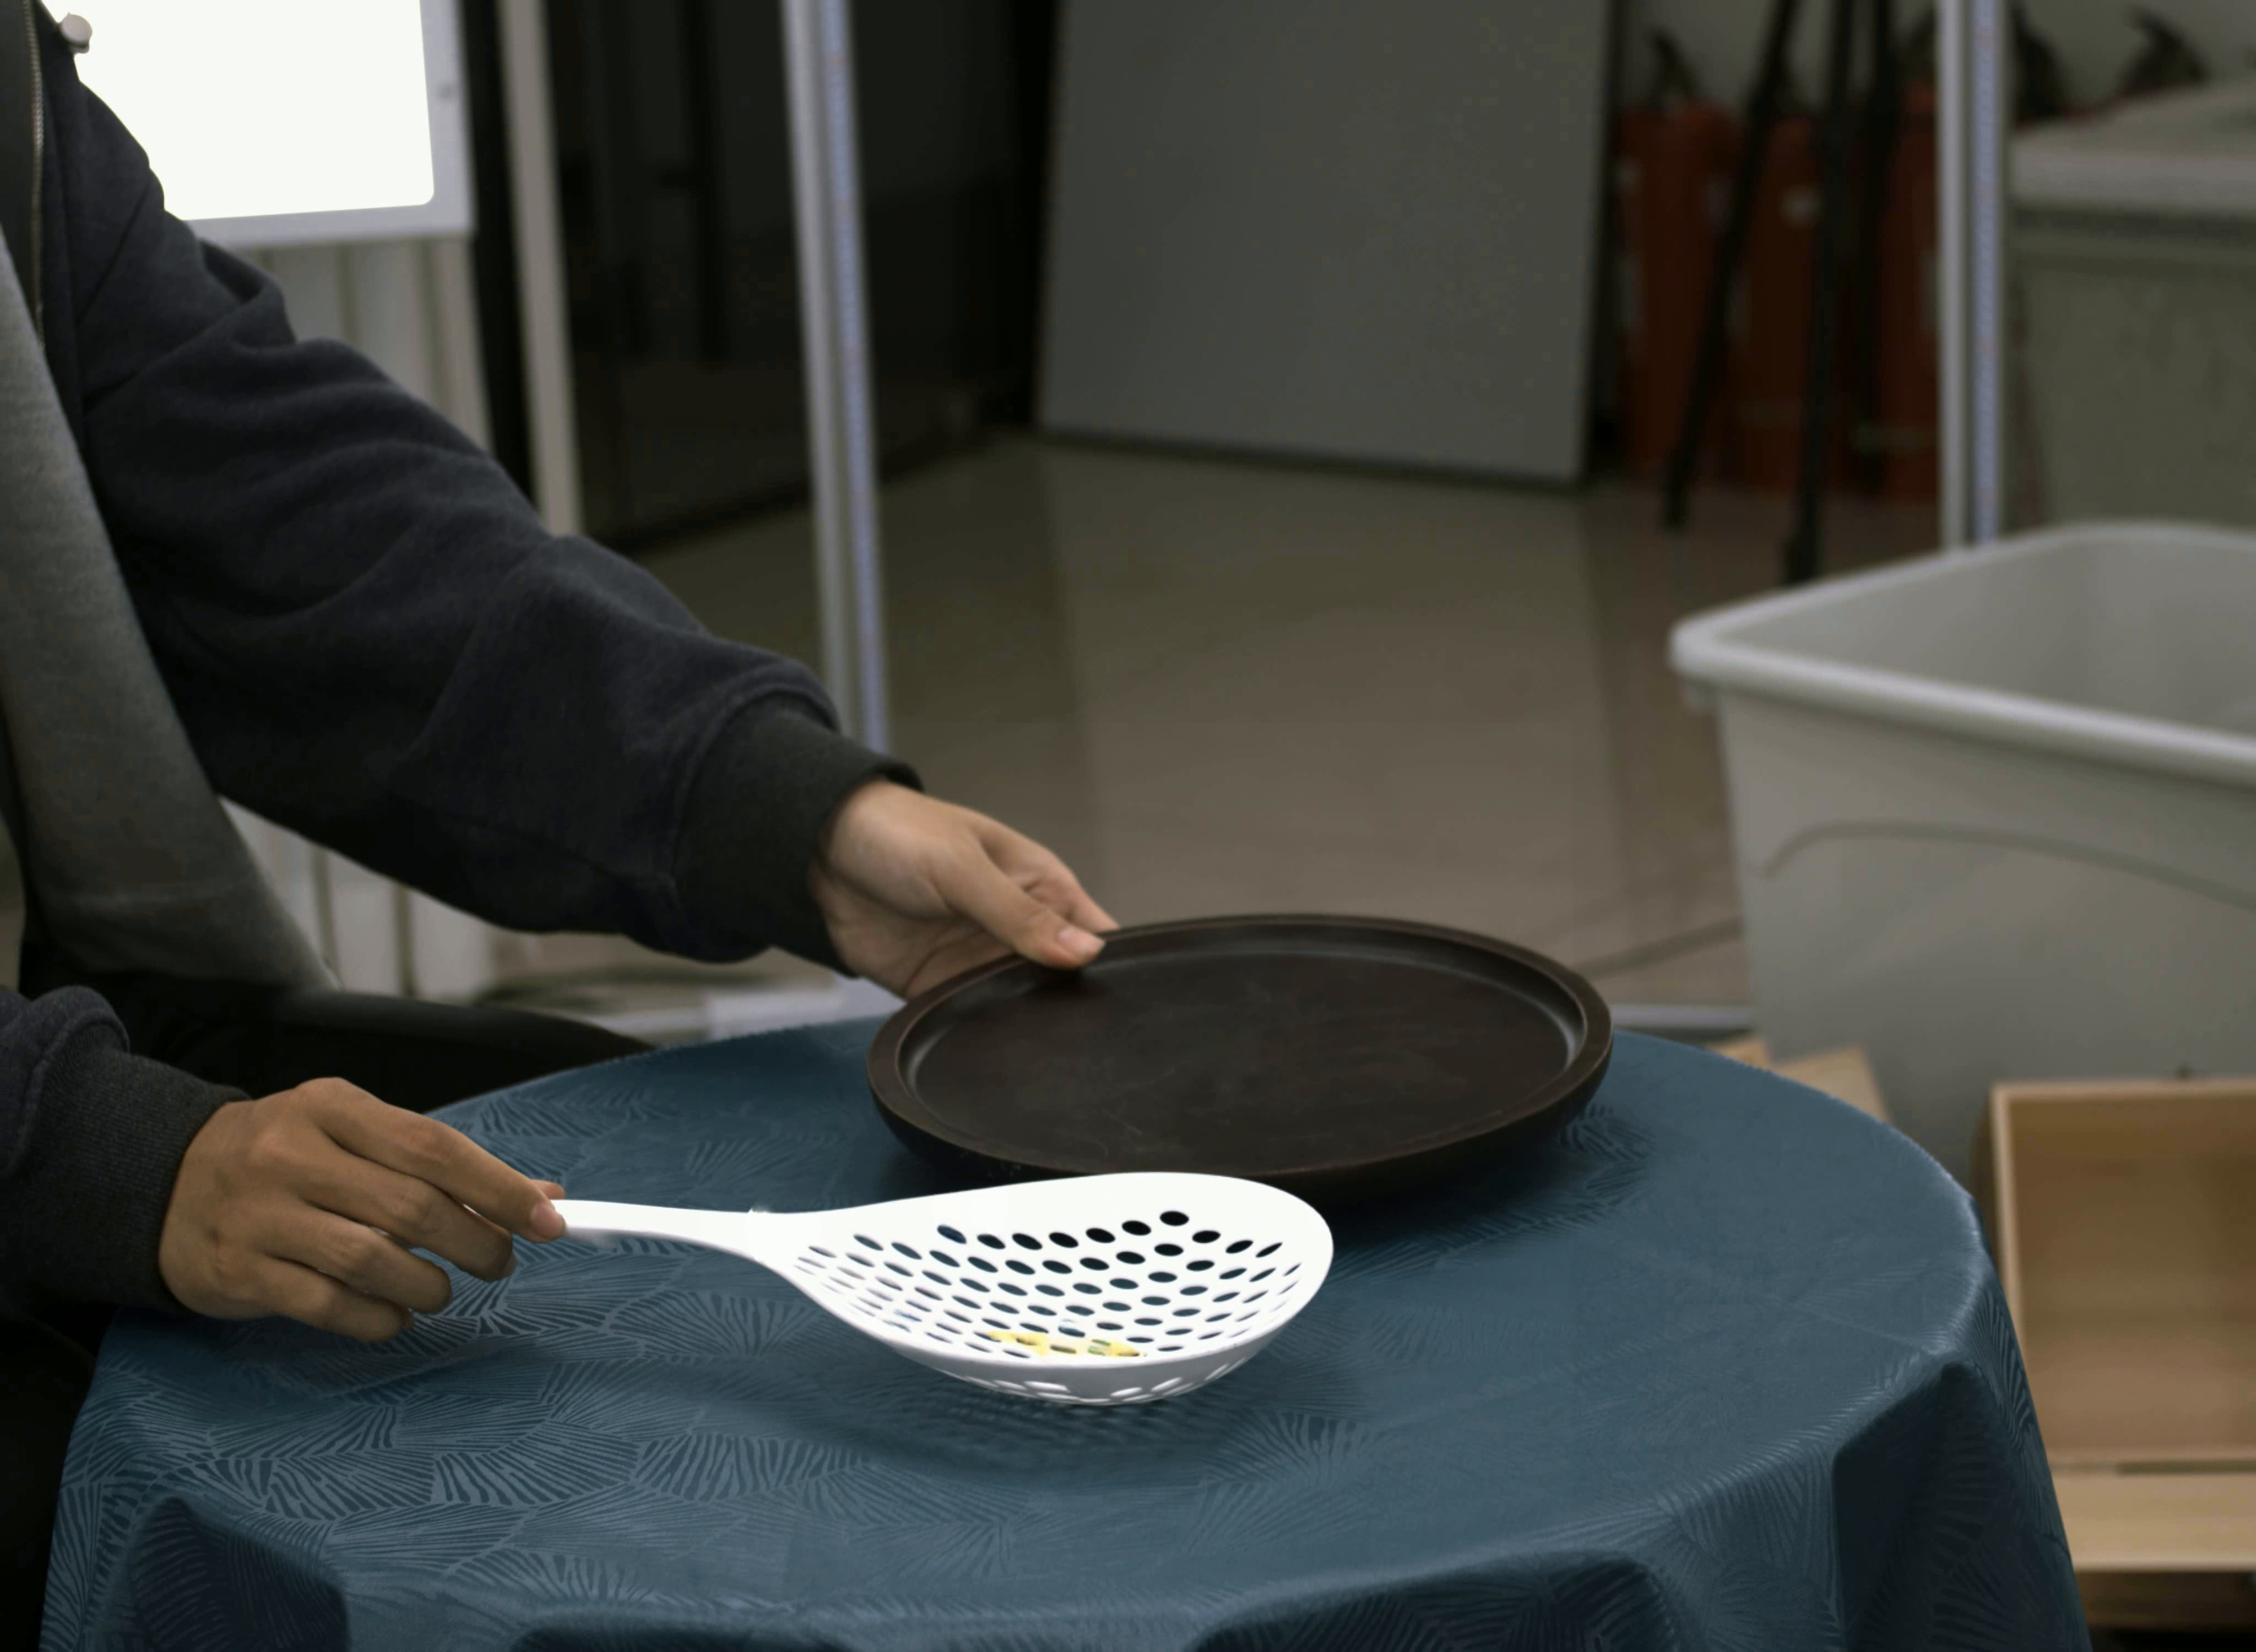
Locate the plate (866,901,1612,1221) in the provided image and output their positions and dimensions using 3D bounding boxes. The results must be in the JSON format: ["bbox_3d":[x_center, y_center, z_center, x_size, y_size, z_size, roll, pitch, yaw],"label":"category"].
[{"bbox_3d":[0.037,0.080,1.802,0.251,0.029,0.255,-5,18,1],"label":"plate"}]

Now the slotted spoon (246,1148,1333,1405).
[{"bbox_3d":[-0.107,0.134,1.624,0.347,0.051,0.136,5,24,19],"label":"slotted spoon"}]
